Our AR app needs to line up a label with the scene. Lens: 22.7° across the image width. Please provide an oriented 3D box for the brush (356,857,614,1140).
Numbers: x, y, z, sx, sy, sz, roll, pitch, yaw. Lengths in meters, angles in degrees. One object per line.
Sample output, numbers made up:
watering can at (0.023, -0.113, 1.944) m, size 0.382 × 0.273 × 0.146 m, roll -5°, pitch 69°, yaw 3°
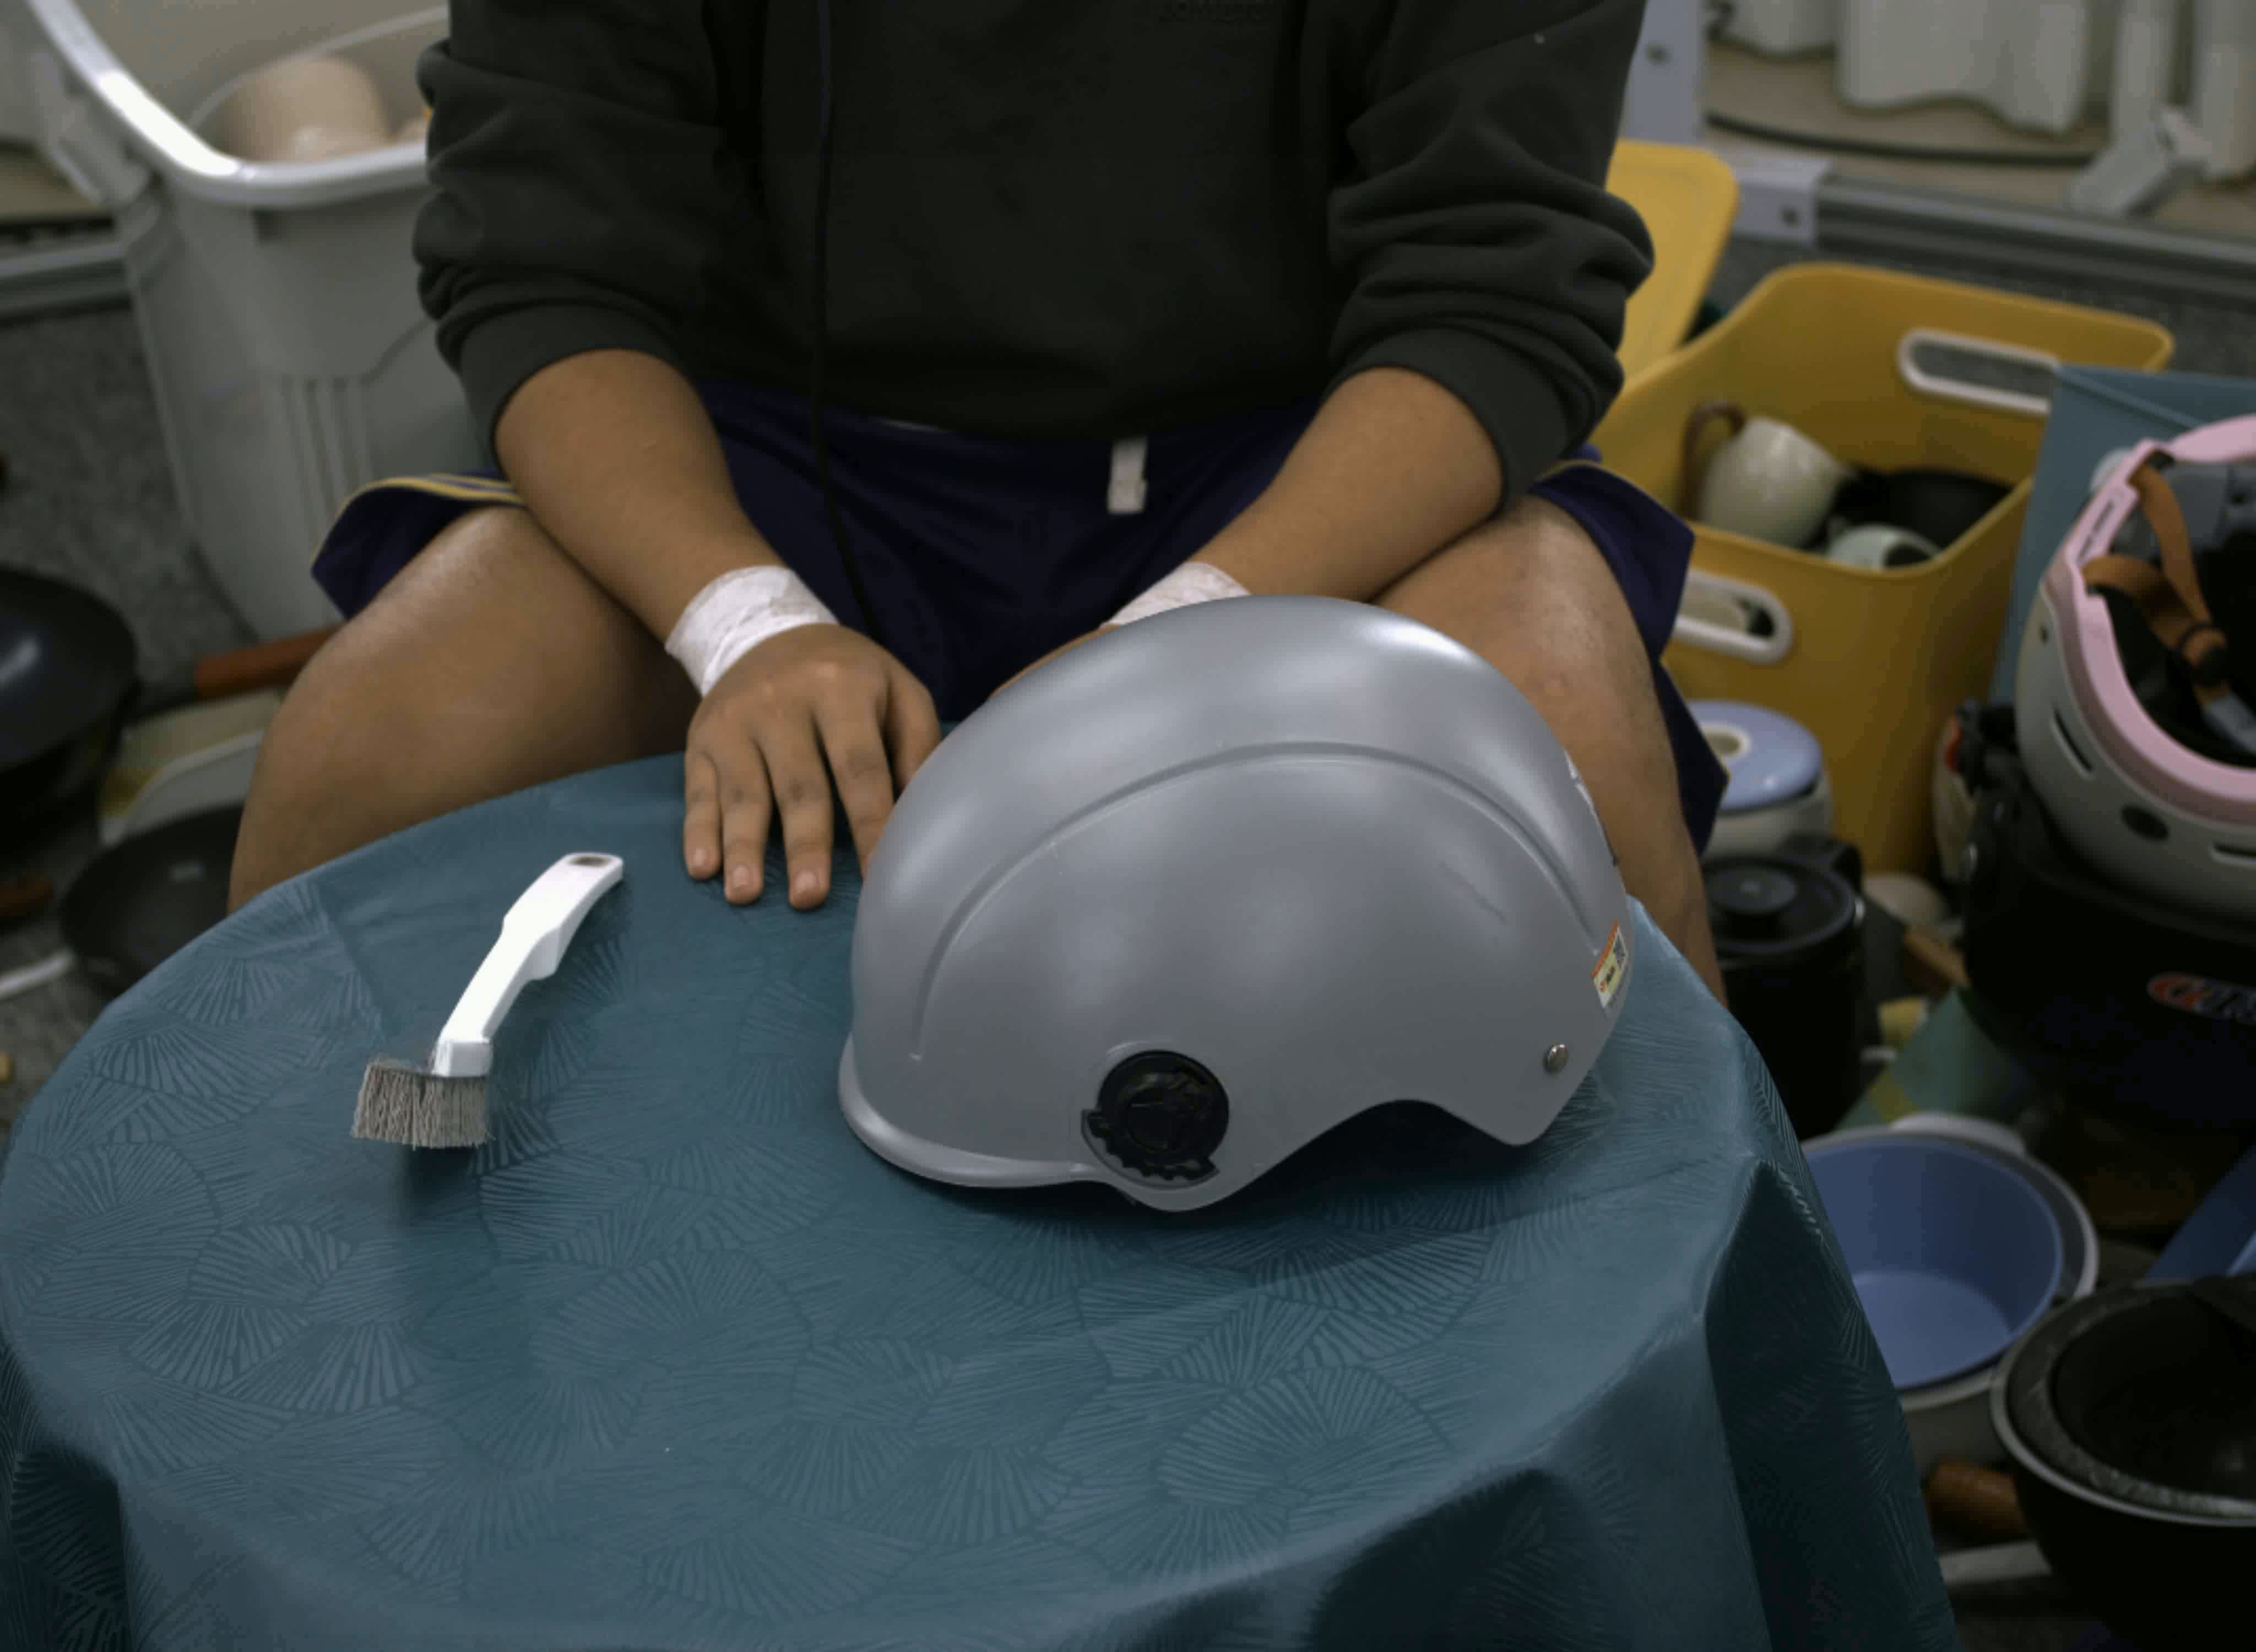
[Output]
brush at (-0.221, 0.064, 1.971) m, size 0.034 × 0.050 × 0.246 m, roll 5°, pitch 15°, yaw 9°

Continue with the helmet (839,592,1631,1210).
helmet at (0.030, 0.010, 1.900) m, size 0.275 × 0.167 × 0.235 m, roll -7°, pitch 27°, yaw -2°
